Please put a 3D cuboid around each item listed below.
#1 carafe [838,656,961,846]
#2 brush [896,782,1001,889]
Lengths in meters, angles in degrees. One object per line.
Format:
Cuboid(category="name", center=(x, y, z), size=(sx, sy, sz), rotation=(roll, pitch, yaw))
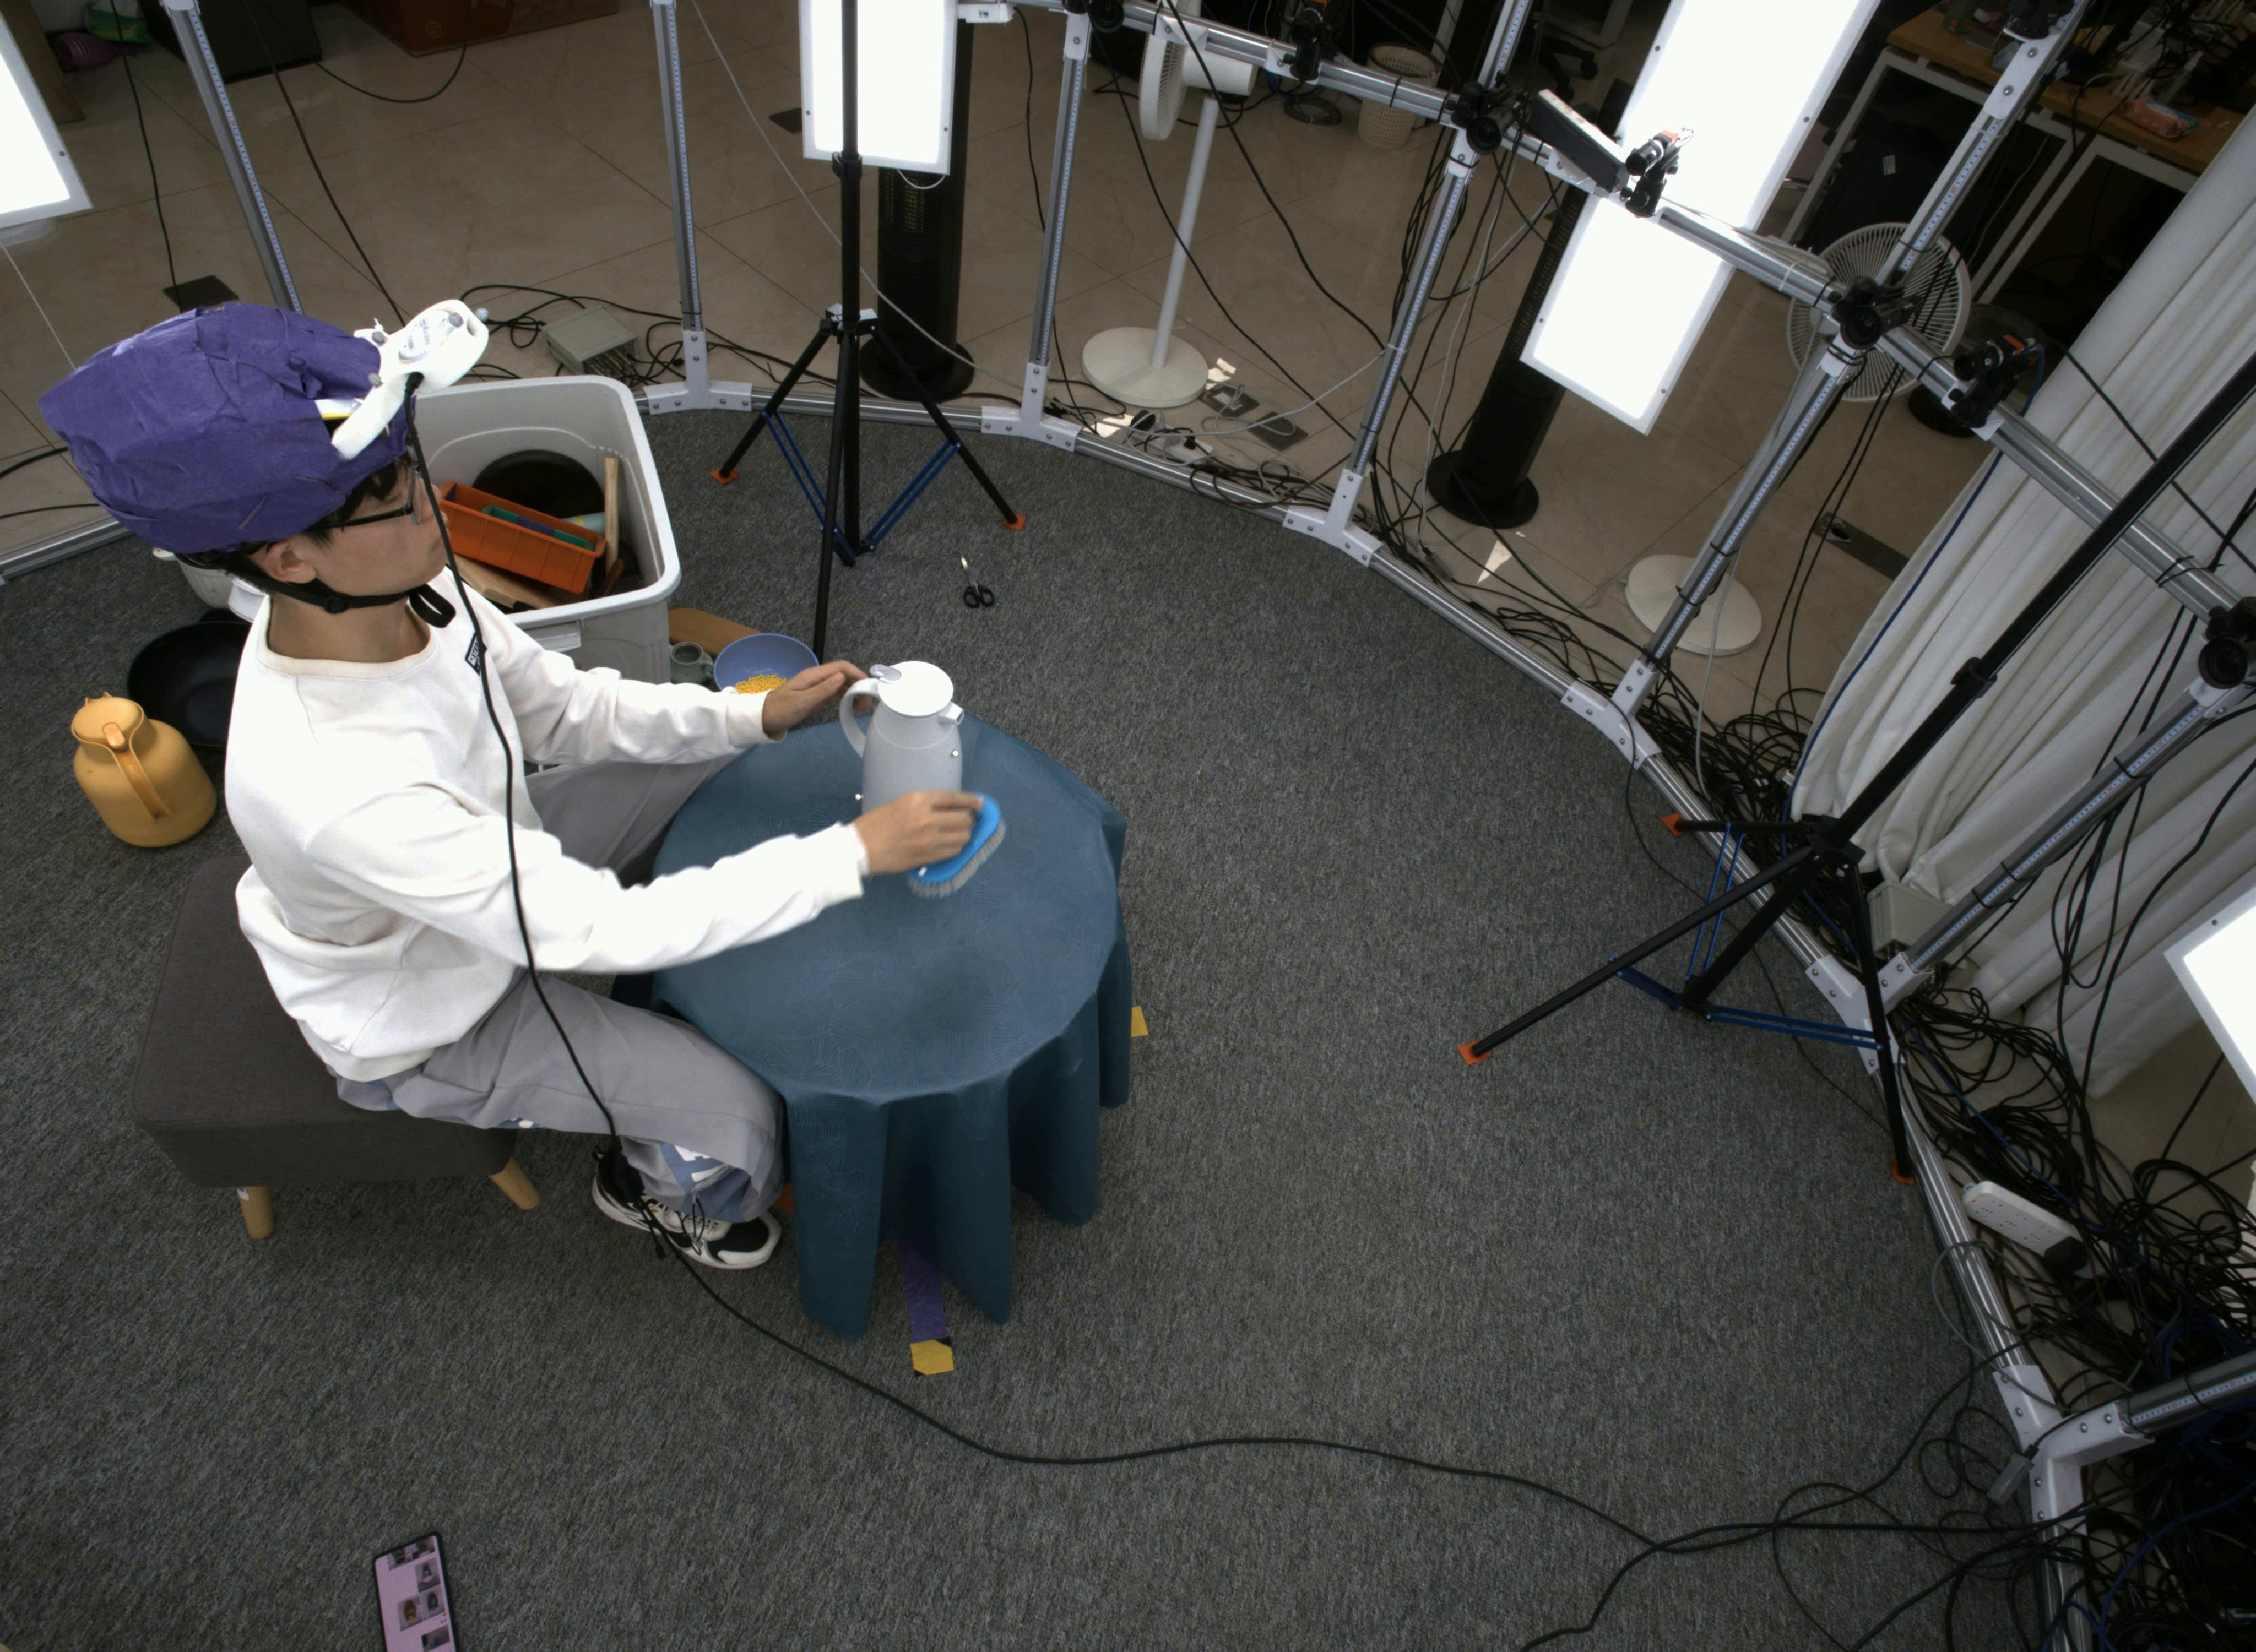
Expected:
Cuboid(category="carafe", center=(-0.298, -0.107, 1.683), size=(0.165, 0.254, 0.131), rotation=(21, 52, 7))
Cuboid(category="brush", center=(-0.206, 0.002, 1.504), size=(0.082, 0.065, 0.141), rotation=(30, 61, 19))
